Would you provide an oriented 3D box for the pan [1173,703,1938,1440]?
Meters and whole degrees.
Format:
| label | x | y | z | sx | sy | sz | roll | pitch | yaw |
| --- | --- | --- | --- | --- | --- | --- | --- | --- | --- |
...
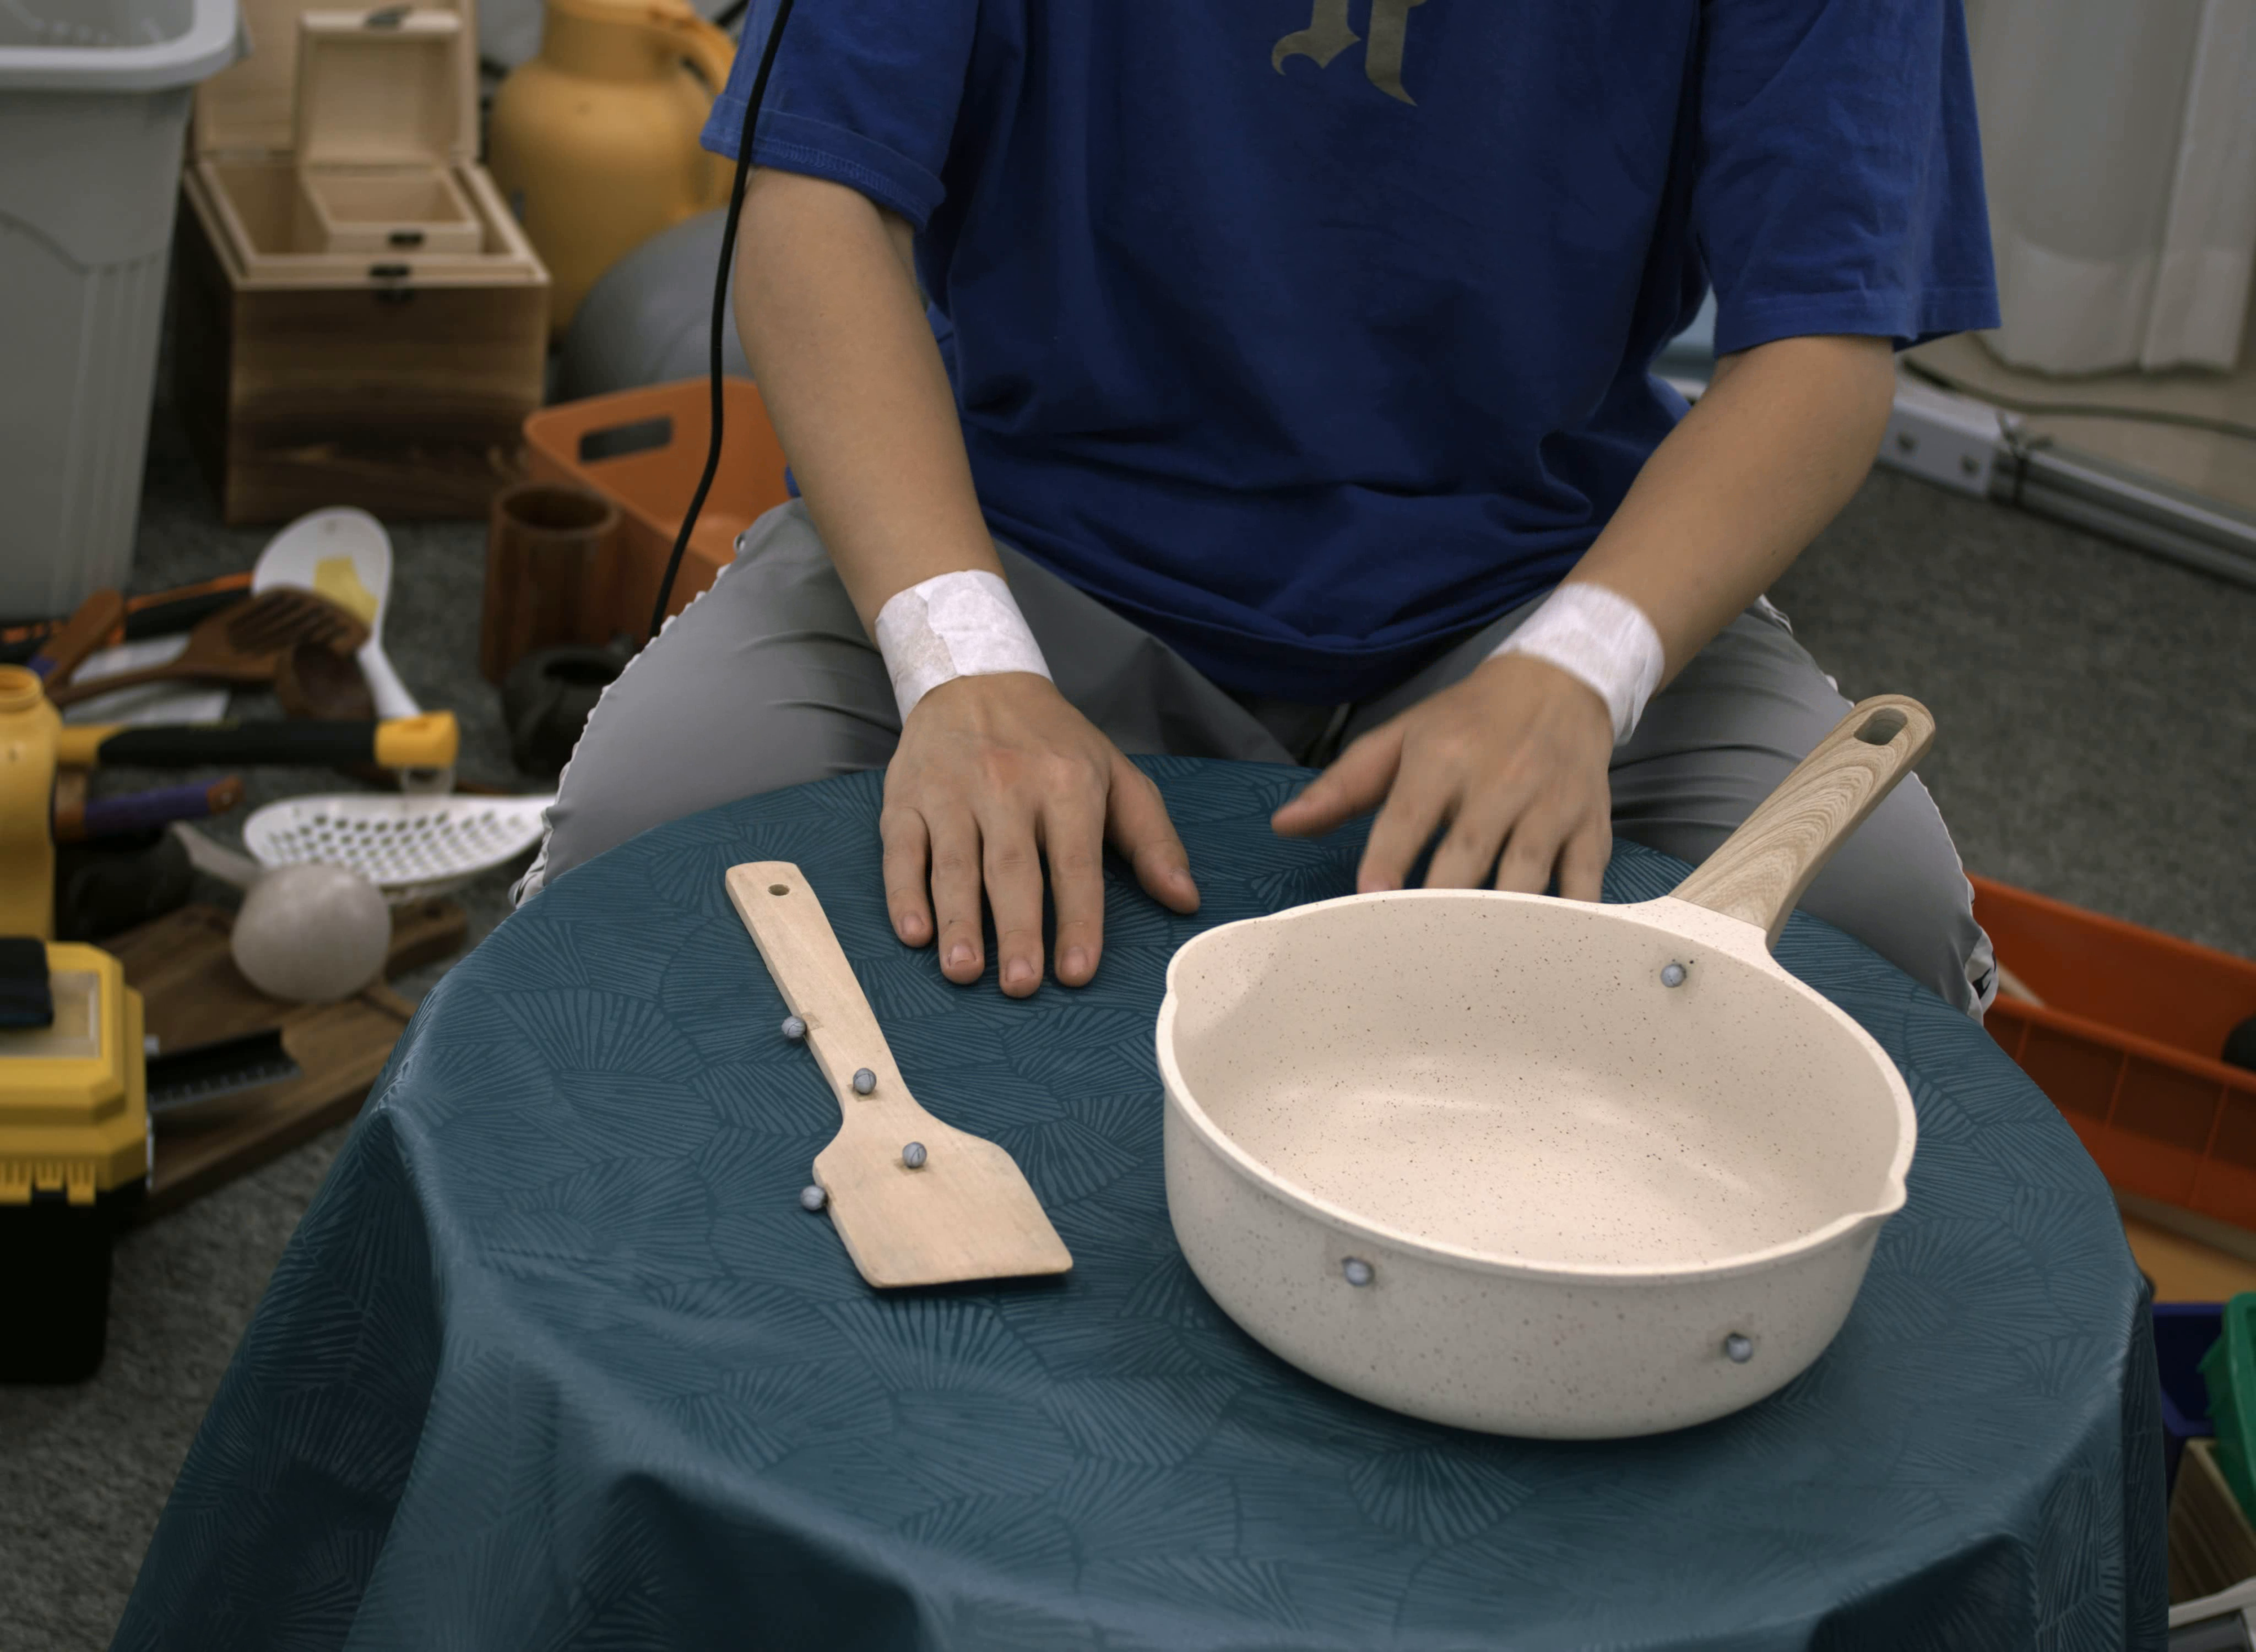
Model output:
| label | x | y | z | sx | sy | sz | roll | pitch | yaw |
| --- | --- | --- | --- | --- | --- | --- | --- | --- | --- |
| pan | 0.179 | 0.077 | 1.826 | 0.264 | 0.101 | 0.434 | 17 | 28 | 24 |

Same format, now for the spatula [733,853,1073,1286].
| label | x | y | z | sx | sy | sz | roll | pitch | yaw |
| --- | --- | --- | --- | --- | --- | --- | --- | --- | --- |
| spatula | -0.094 | 0.081 | 1.856 | 0.072 | 0.010 | 0.295 | -4 | 29 | -17 |
